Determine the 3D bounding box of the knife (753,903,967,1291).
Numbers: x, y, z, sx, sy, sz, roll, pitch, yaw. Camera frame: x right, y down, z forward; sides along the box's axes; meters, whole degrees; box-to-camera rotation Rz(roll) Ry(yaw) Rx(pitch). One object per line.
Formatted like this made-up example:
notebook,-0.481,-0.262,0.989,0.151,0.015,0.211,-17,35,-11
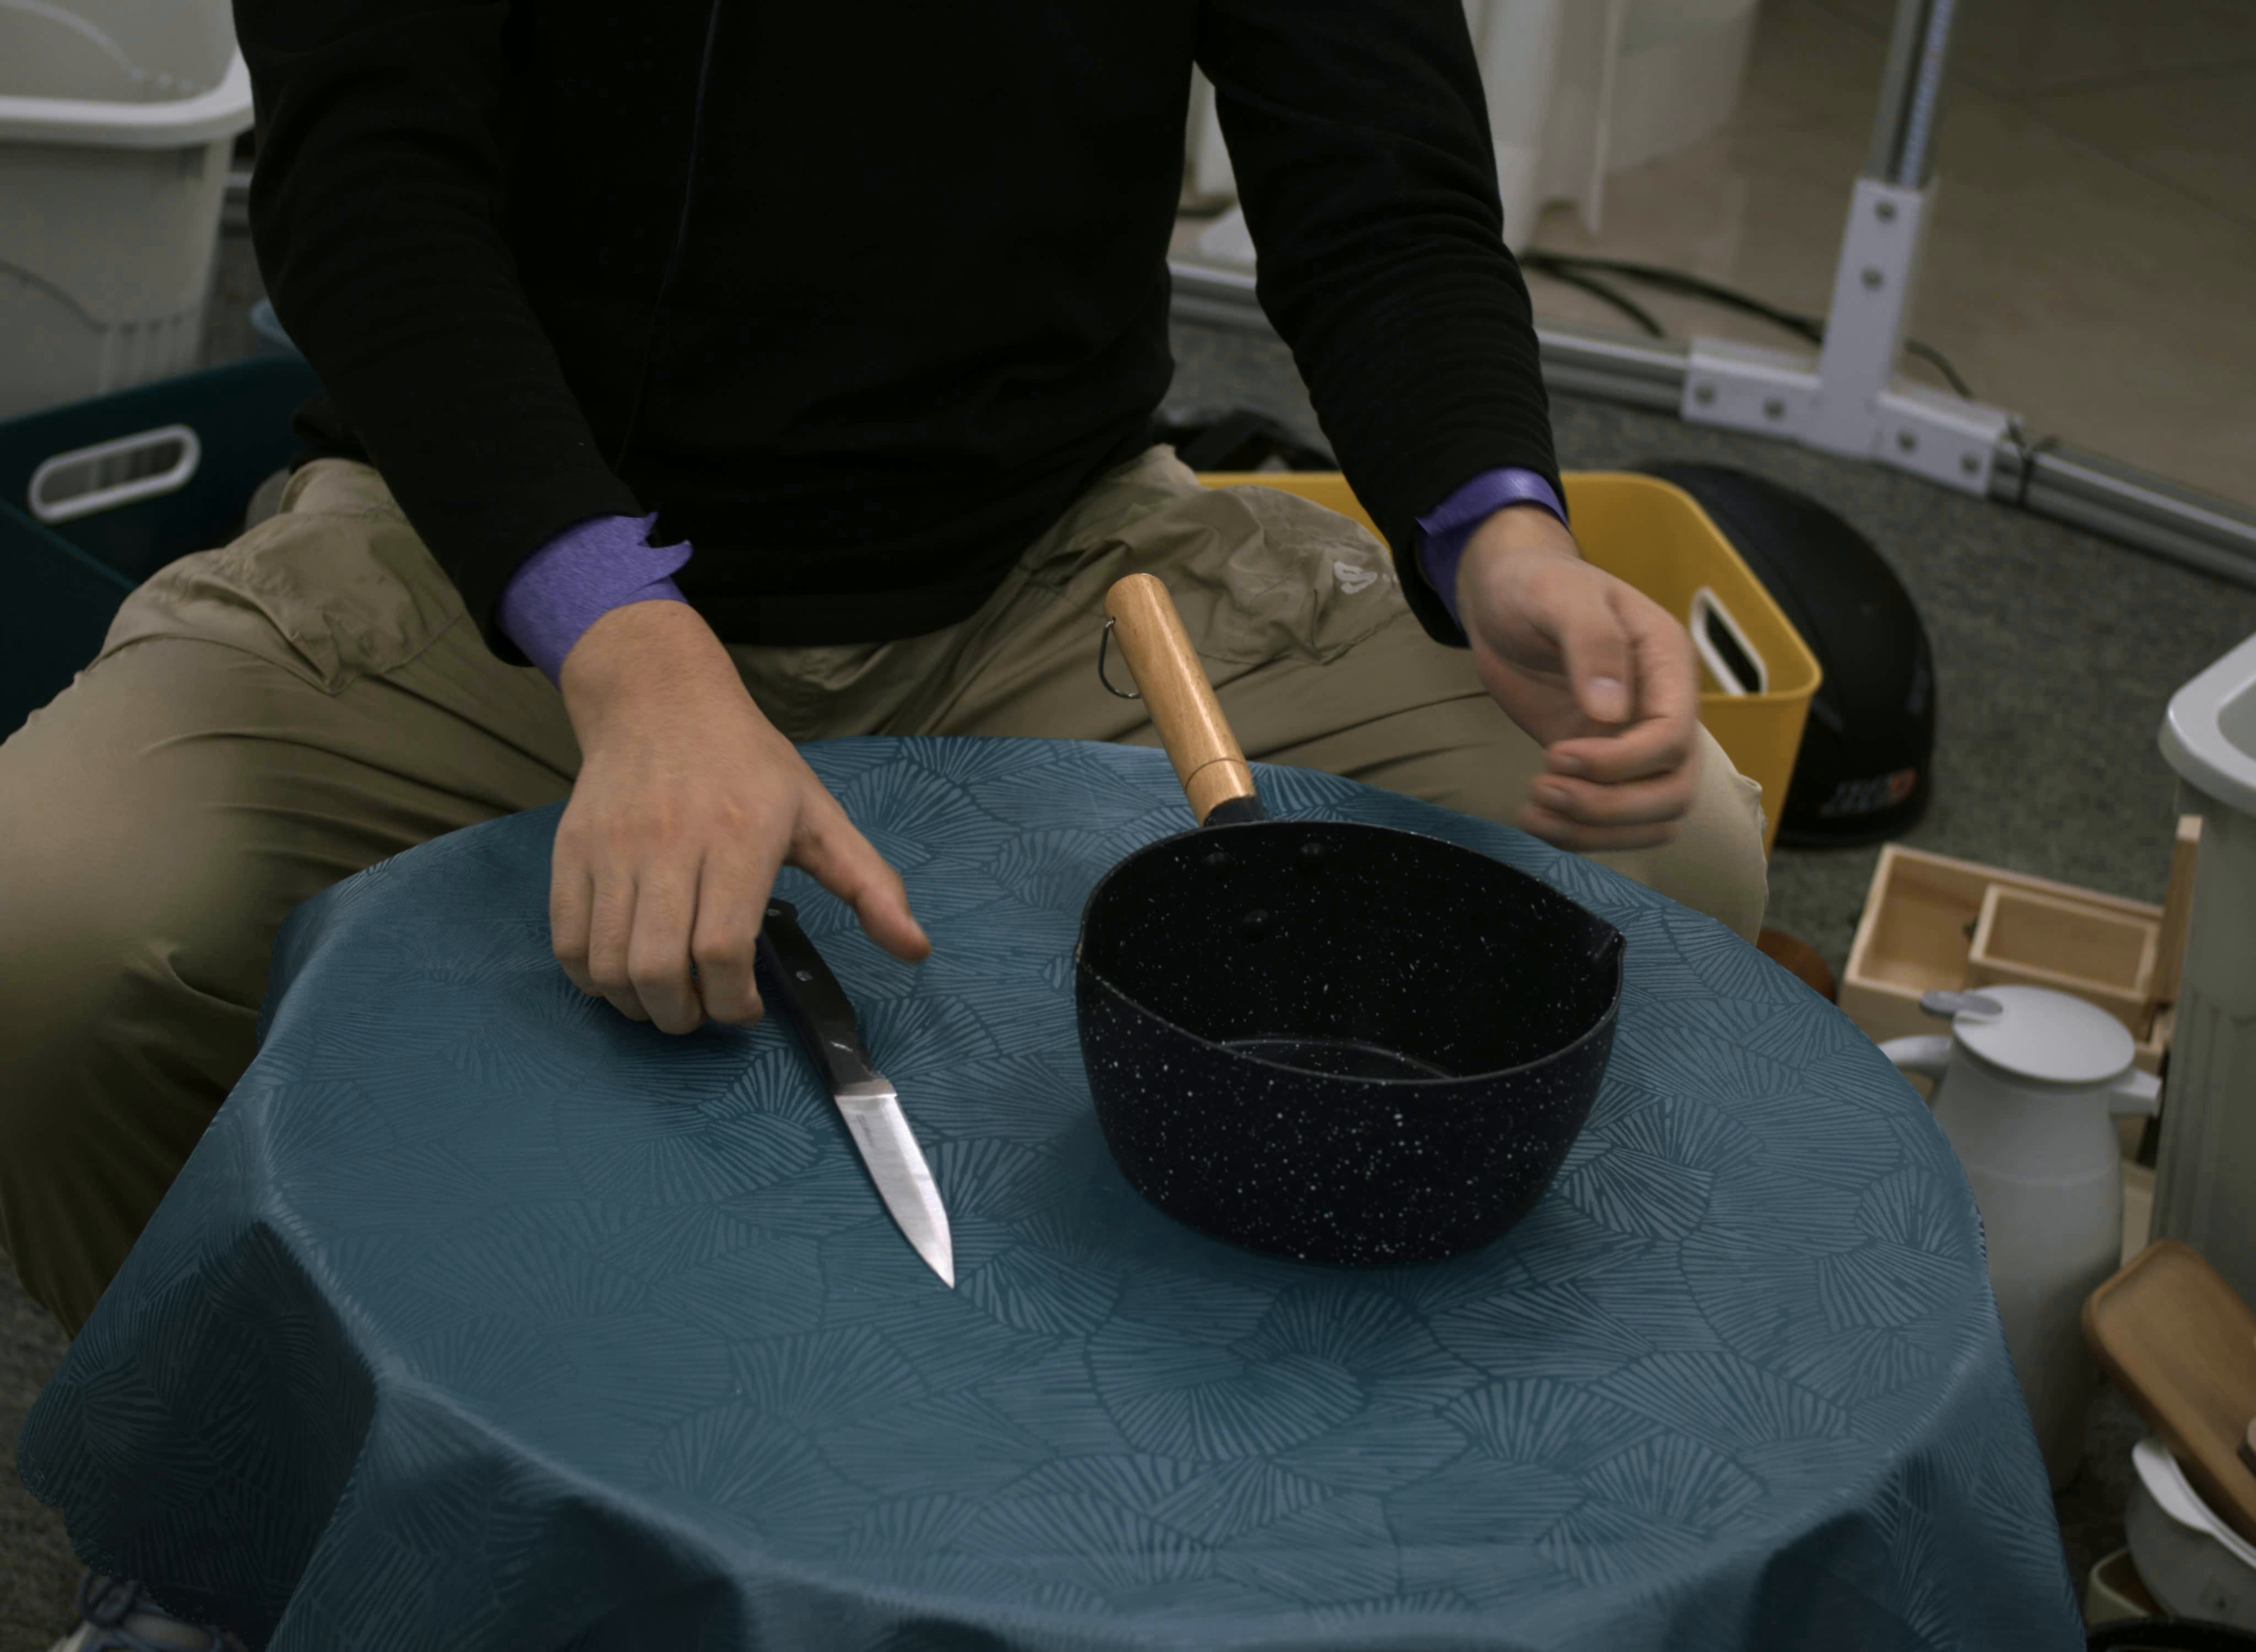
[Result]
knife,-0.093,0.092,1.835,0.024,0.016,0.240,0,30,-21

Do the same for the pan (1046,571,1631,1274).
pan,0.047,0.031,1.882,0.206,0.108,0.346,-4,30,-19
